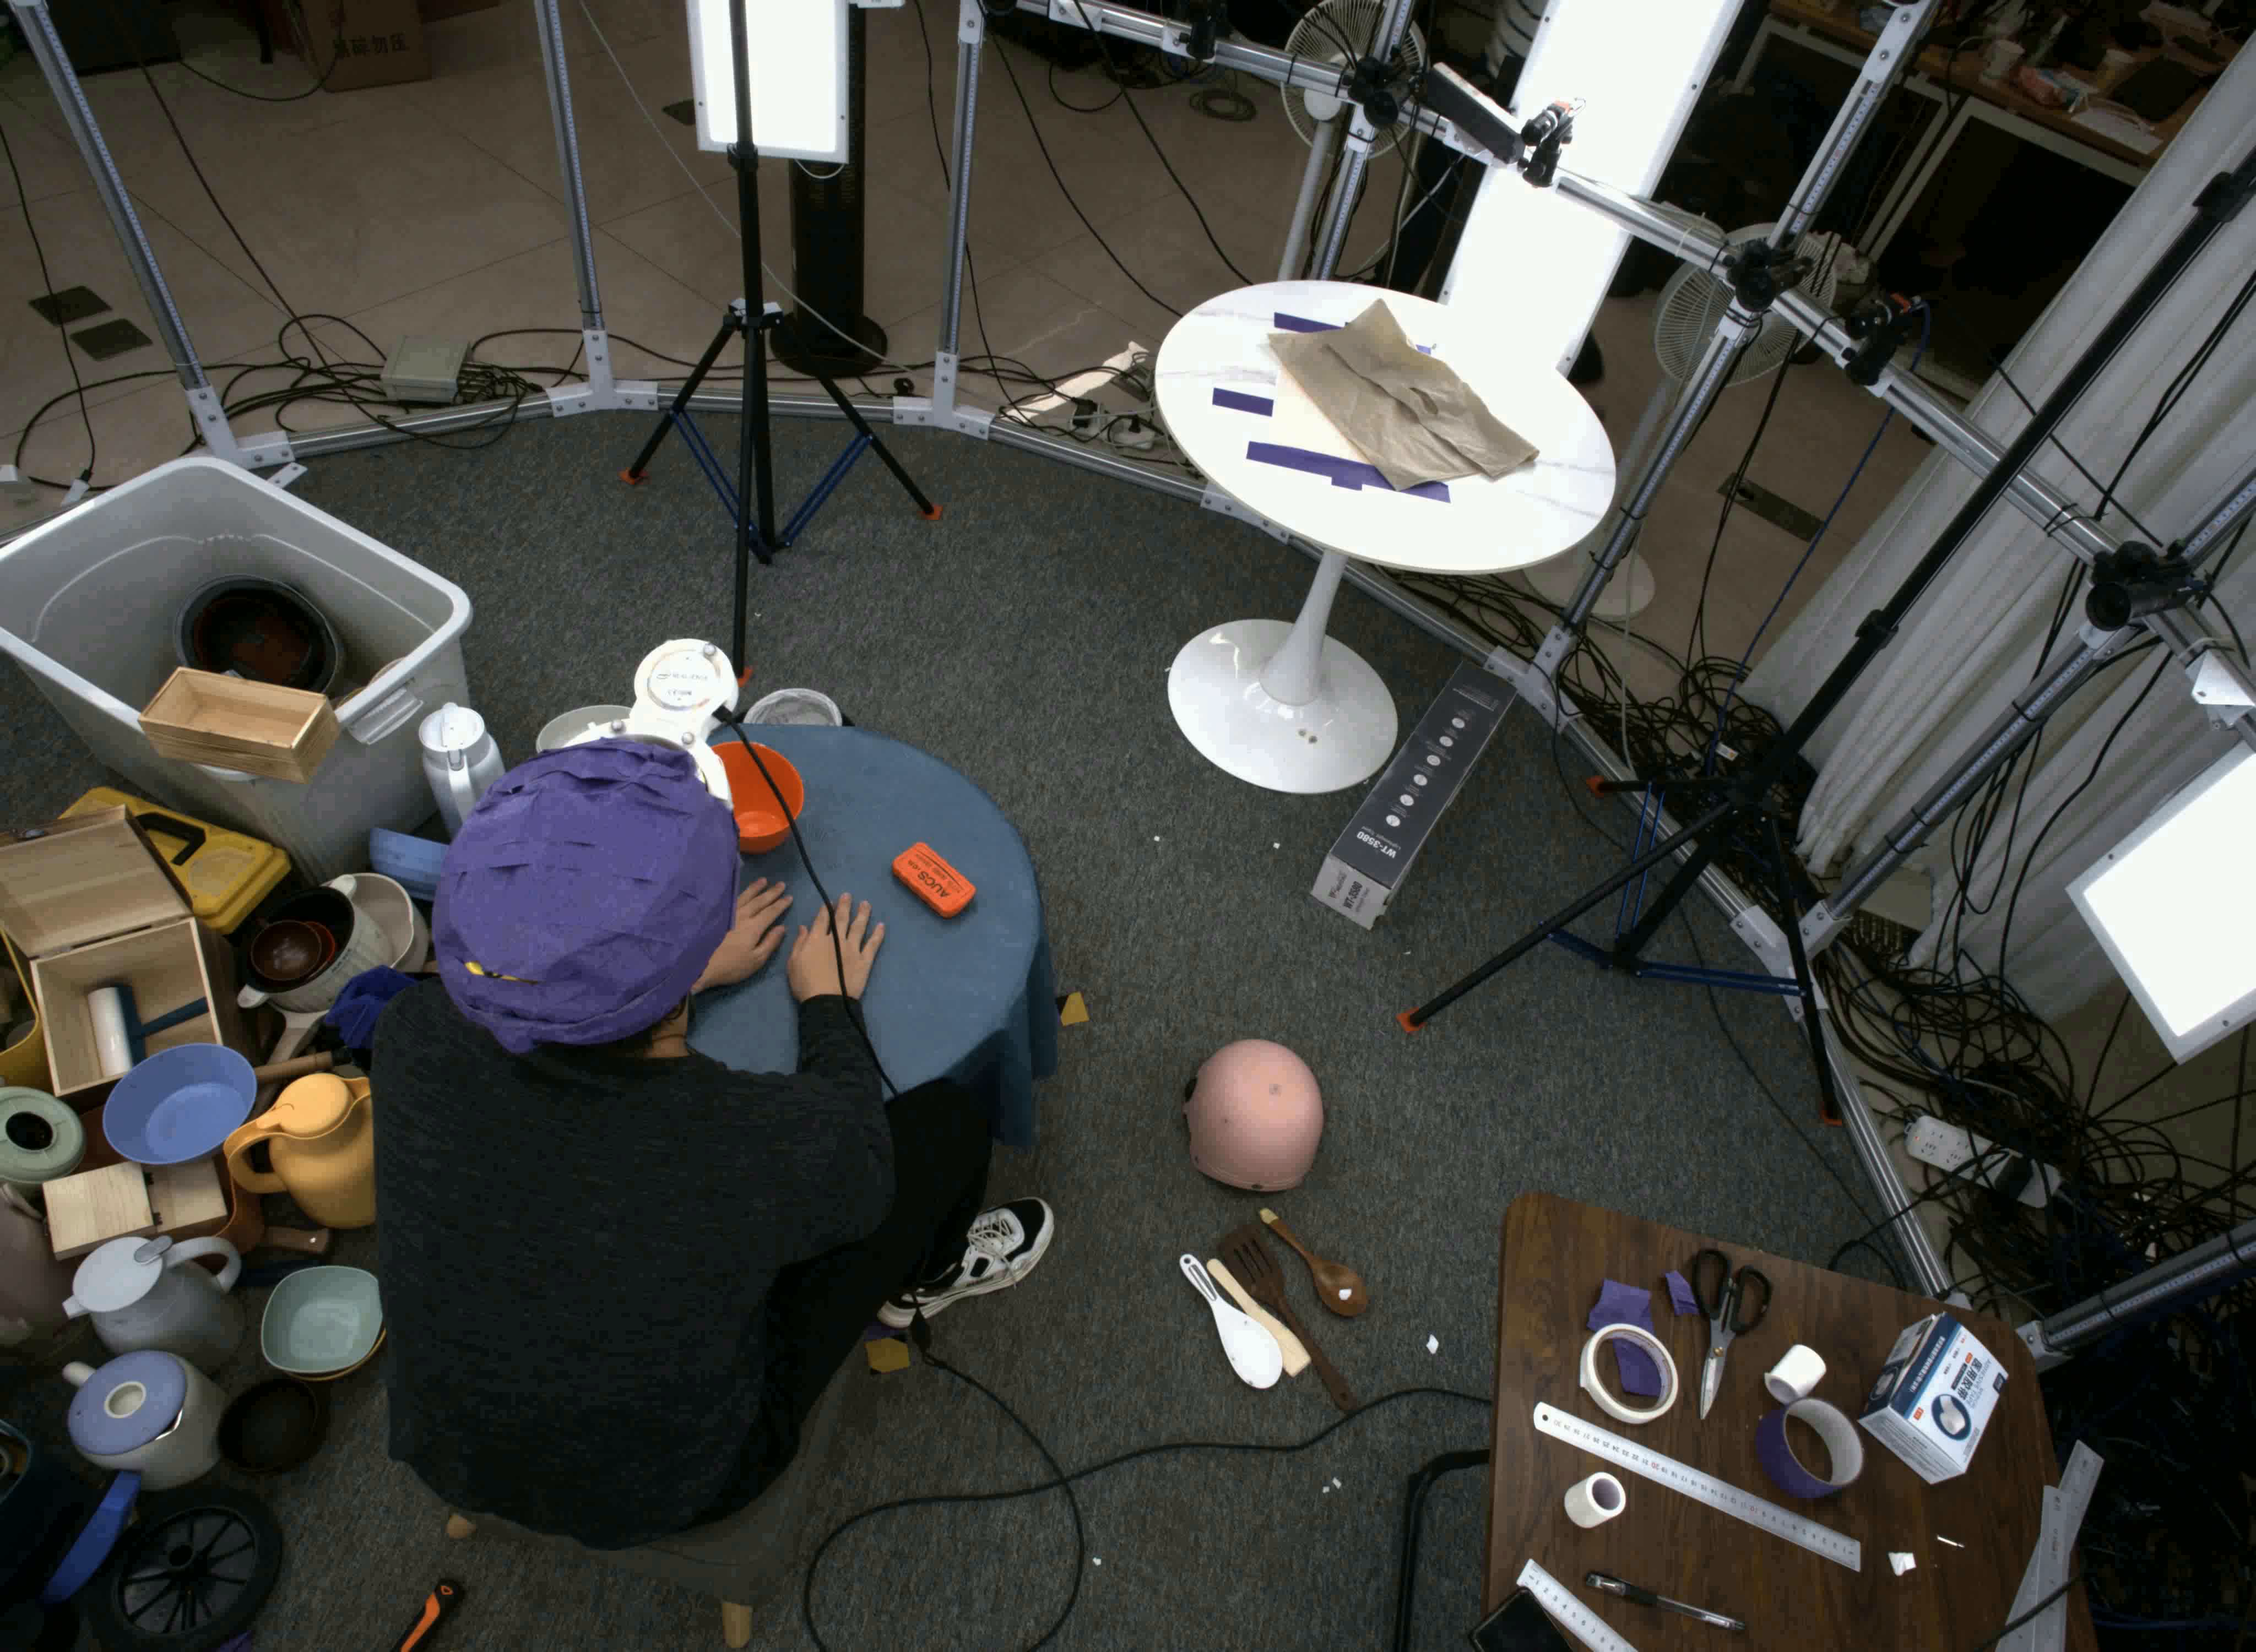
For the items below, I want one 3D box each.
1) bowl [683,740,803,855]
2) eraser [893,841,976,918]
[{"bbox_3d":[-0.489,-0.025,1.655,0.148,0.107,0.145,8,51,-8],"label":"bowl"},{"bbox_3d":[-0.252,0.068,1.695,0.105,0.023,0.059,37,52,16],"label":"eraser"}]
